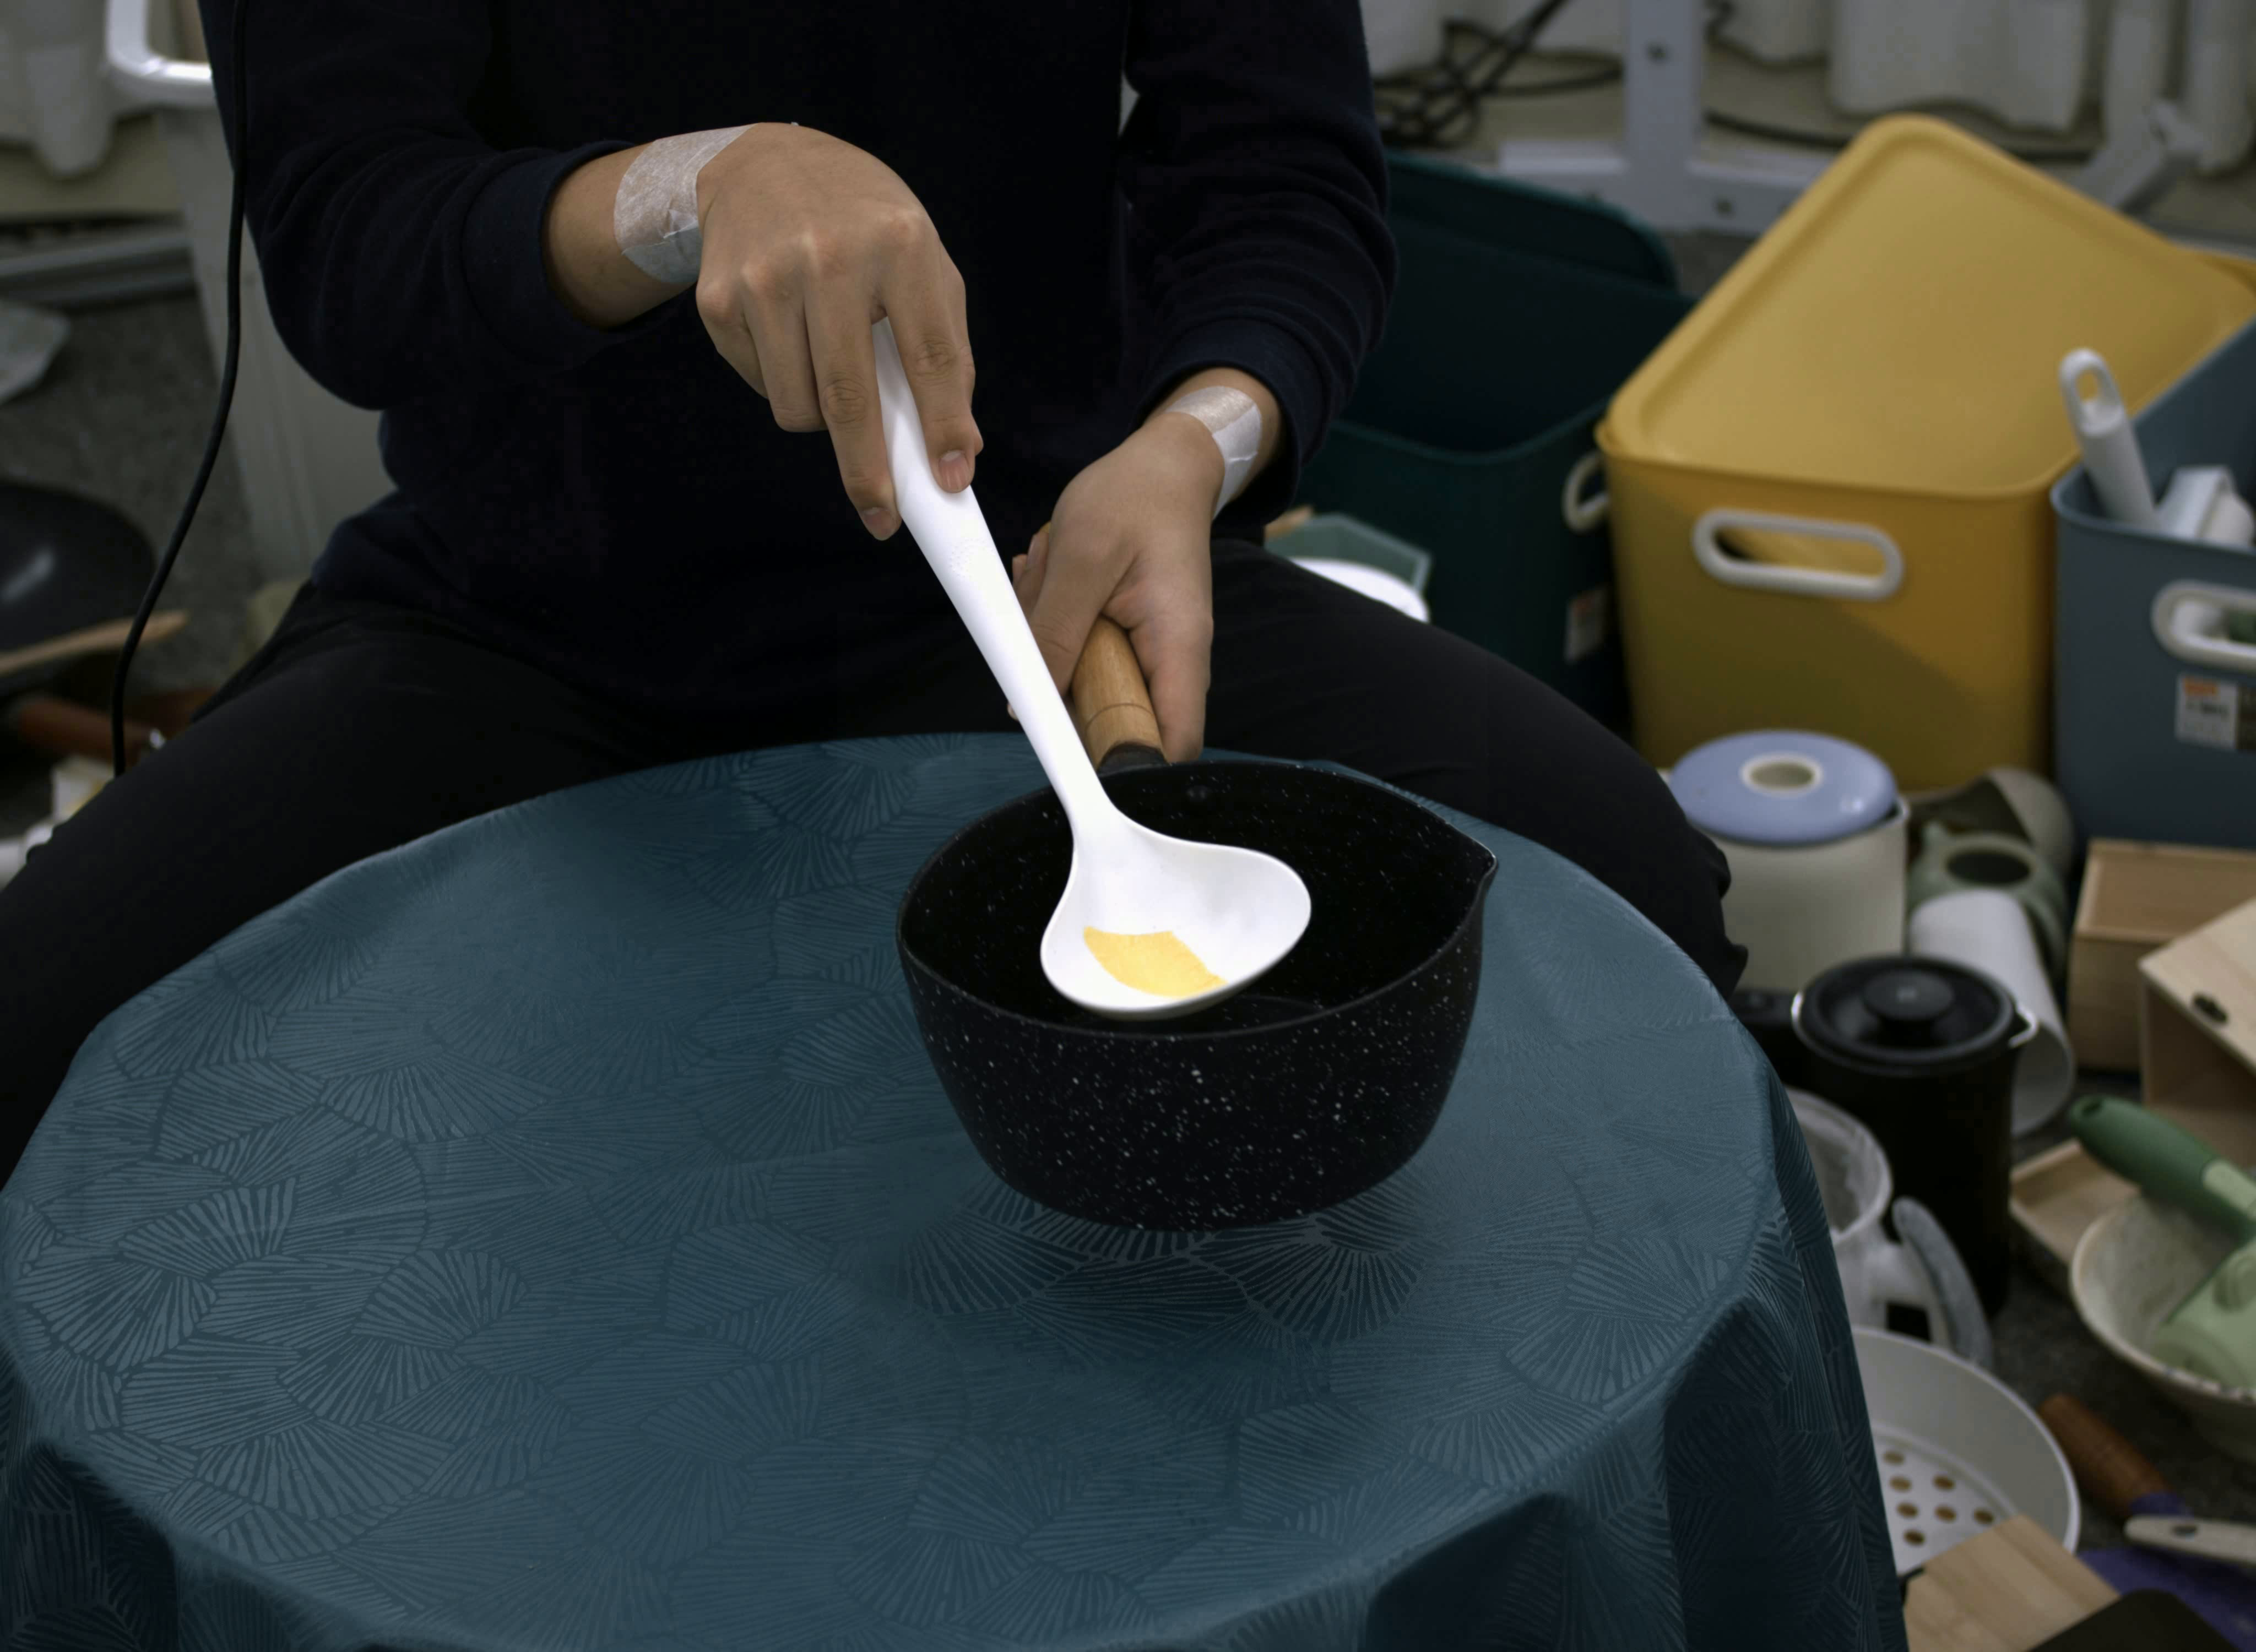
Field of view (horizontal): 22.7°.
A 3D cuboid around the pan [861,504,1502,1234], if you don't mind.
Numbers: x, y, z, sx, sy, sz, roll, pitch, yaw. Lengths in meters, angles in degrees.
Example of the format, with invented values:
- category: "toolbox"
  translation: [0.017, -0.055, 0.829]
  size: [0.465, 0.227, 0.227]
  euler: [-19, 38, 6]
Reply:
- category: "pan"
  translation: [0.006, 0.011, 1.878]
  size: [0.207, 0.107, 0.347]
  euler: [-9, 29, -8]

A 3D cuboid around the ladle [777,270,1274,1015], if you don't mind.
- category: "ladle"
  translation: [-0.044, -0.060, 1.854]
  size: [0.090, 0.069, 0.296]
  euler: [-24, 73, -6]
